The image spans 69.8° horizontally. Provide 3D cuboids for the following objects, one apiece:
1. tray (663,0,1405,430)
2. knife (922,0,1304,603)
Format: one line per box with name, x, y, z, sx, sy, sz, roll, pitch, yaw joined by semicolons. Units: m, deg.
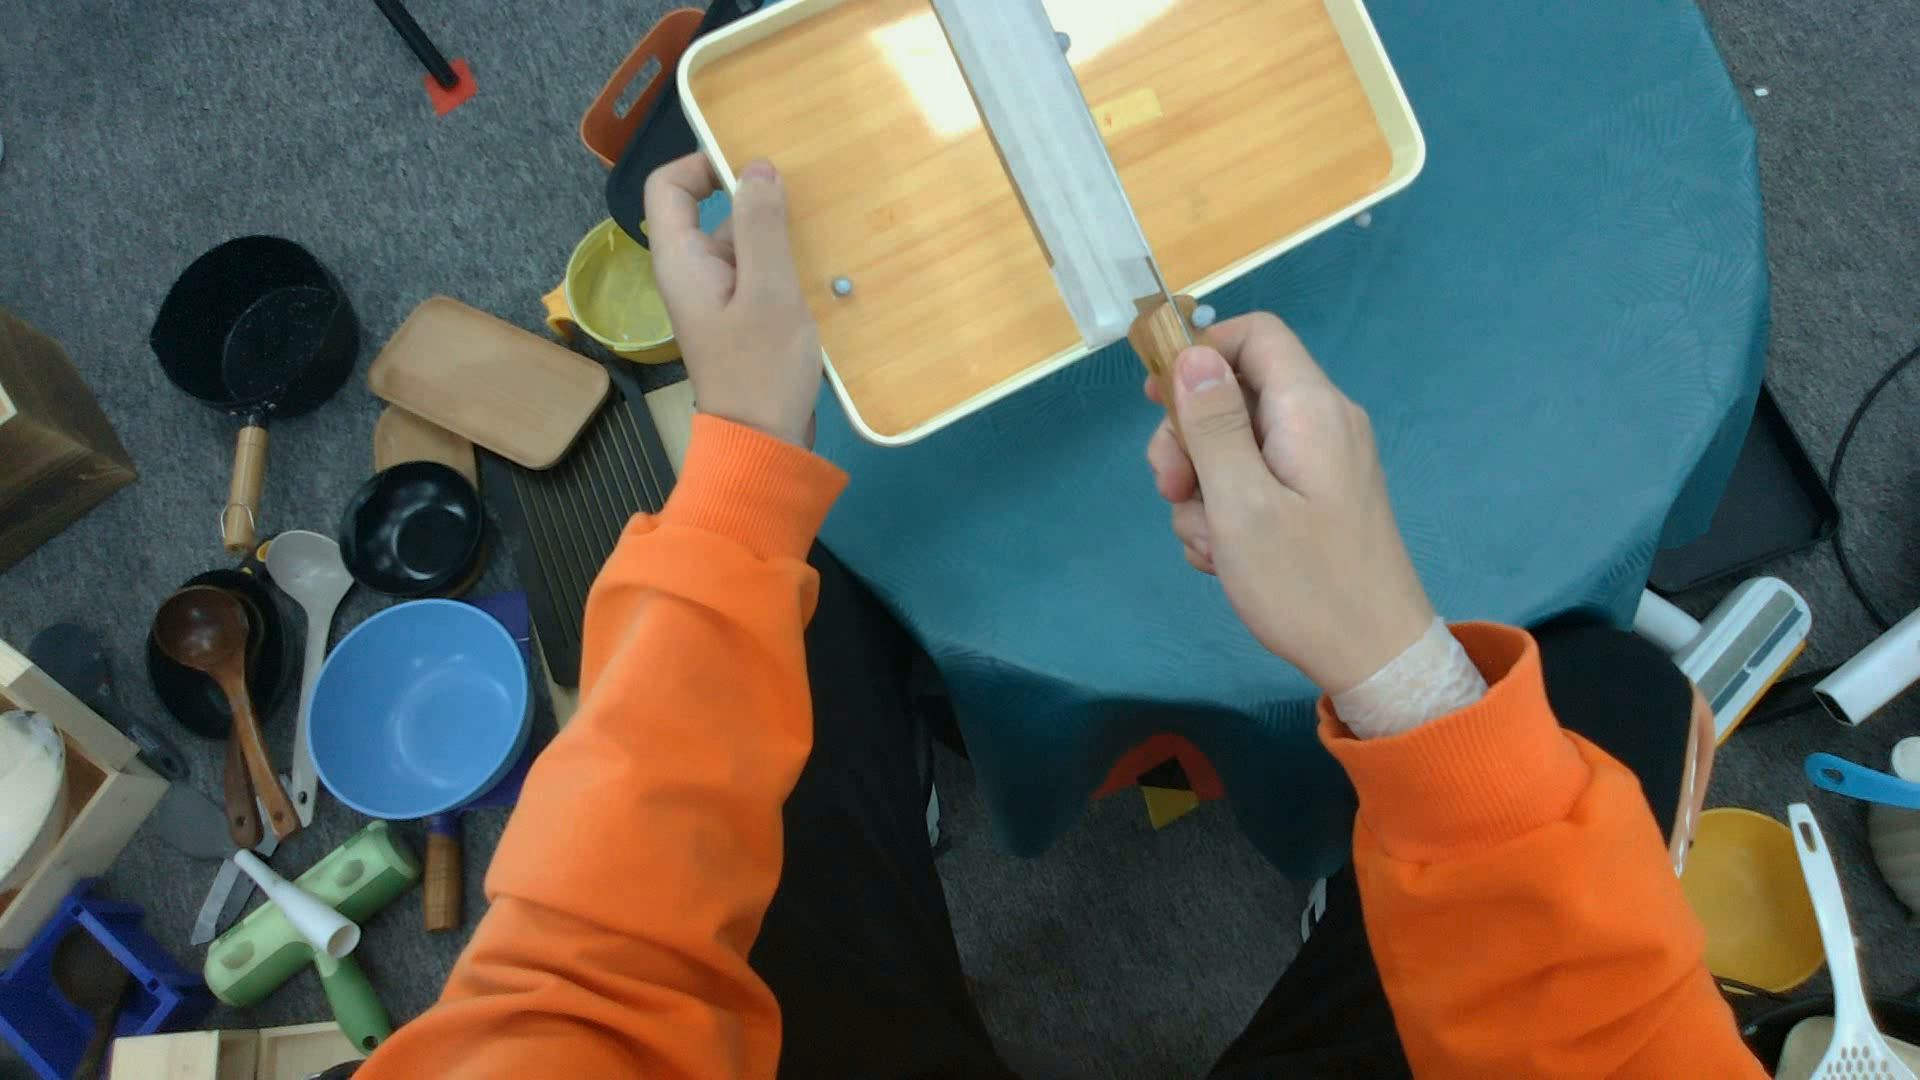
tray;0.040;-0.195;0.619;0.301;0.027;0.191;-29;96;-11
knife;0.042;-0.115;0.506;0.021;0.093;0.305;-28;99;-14
